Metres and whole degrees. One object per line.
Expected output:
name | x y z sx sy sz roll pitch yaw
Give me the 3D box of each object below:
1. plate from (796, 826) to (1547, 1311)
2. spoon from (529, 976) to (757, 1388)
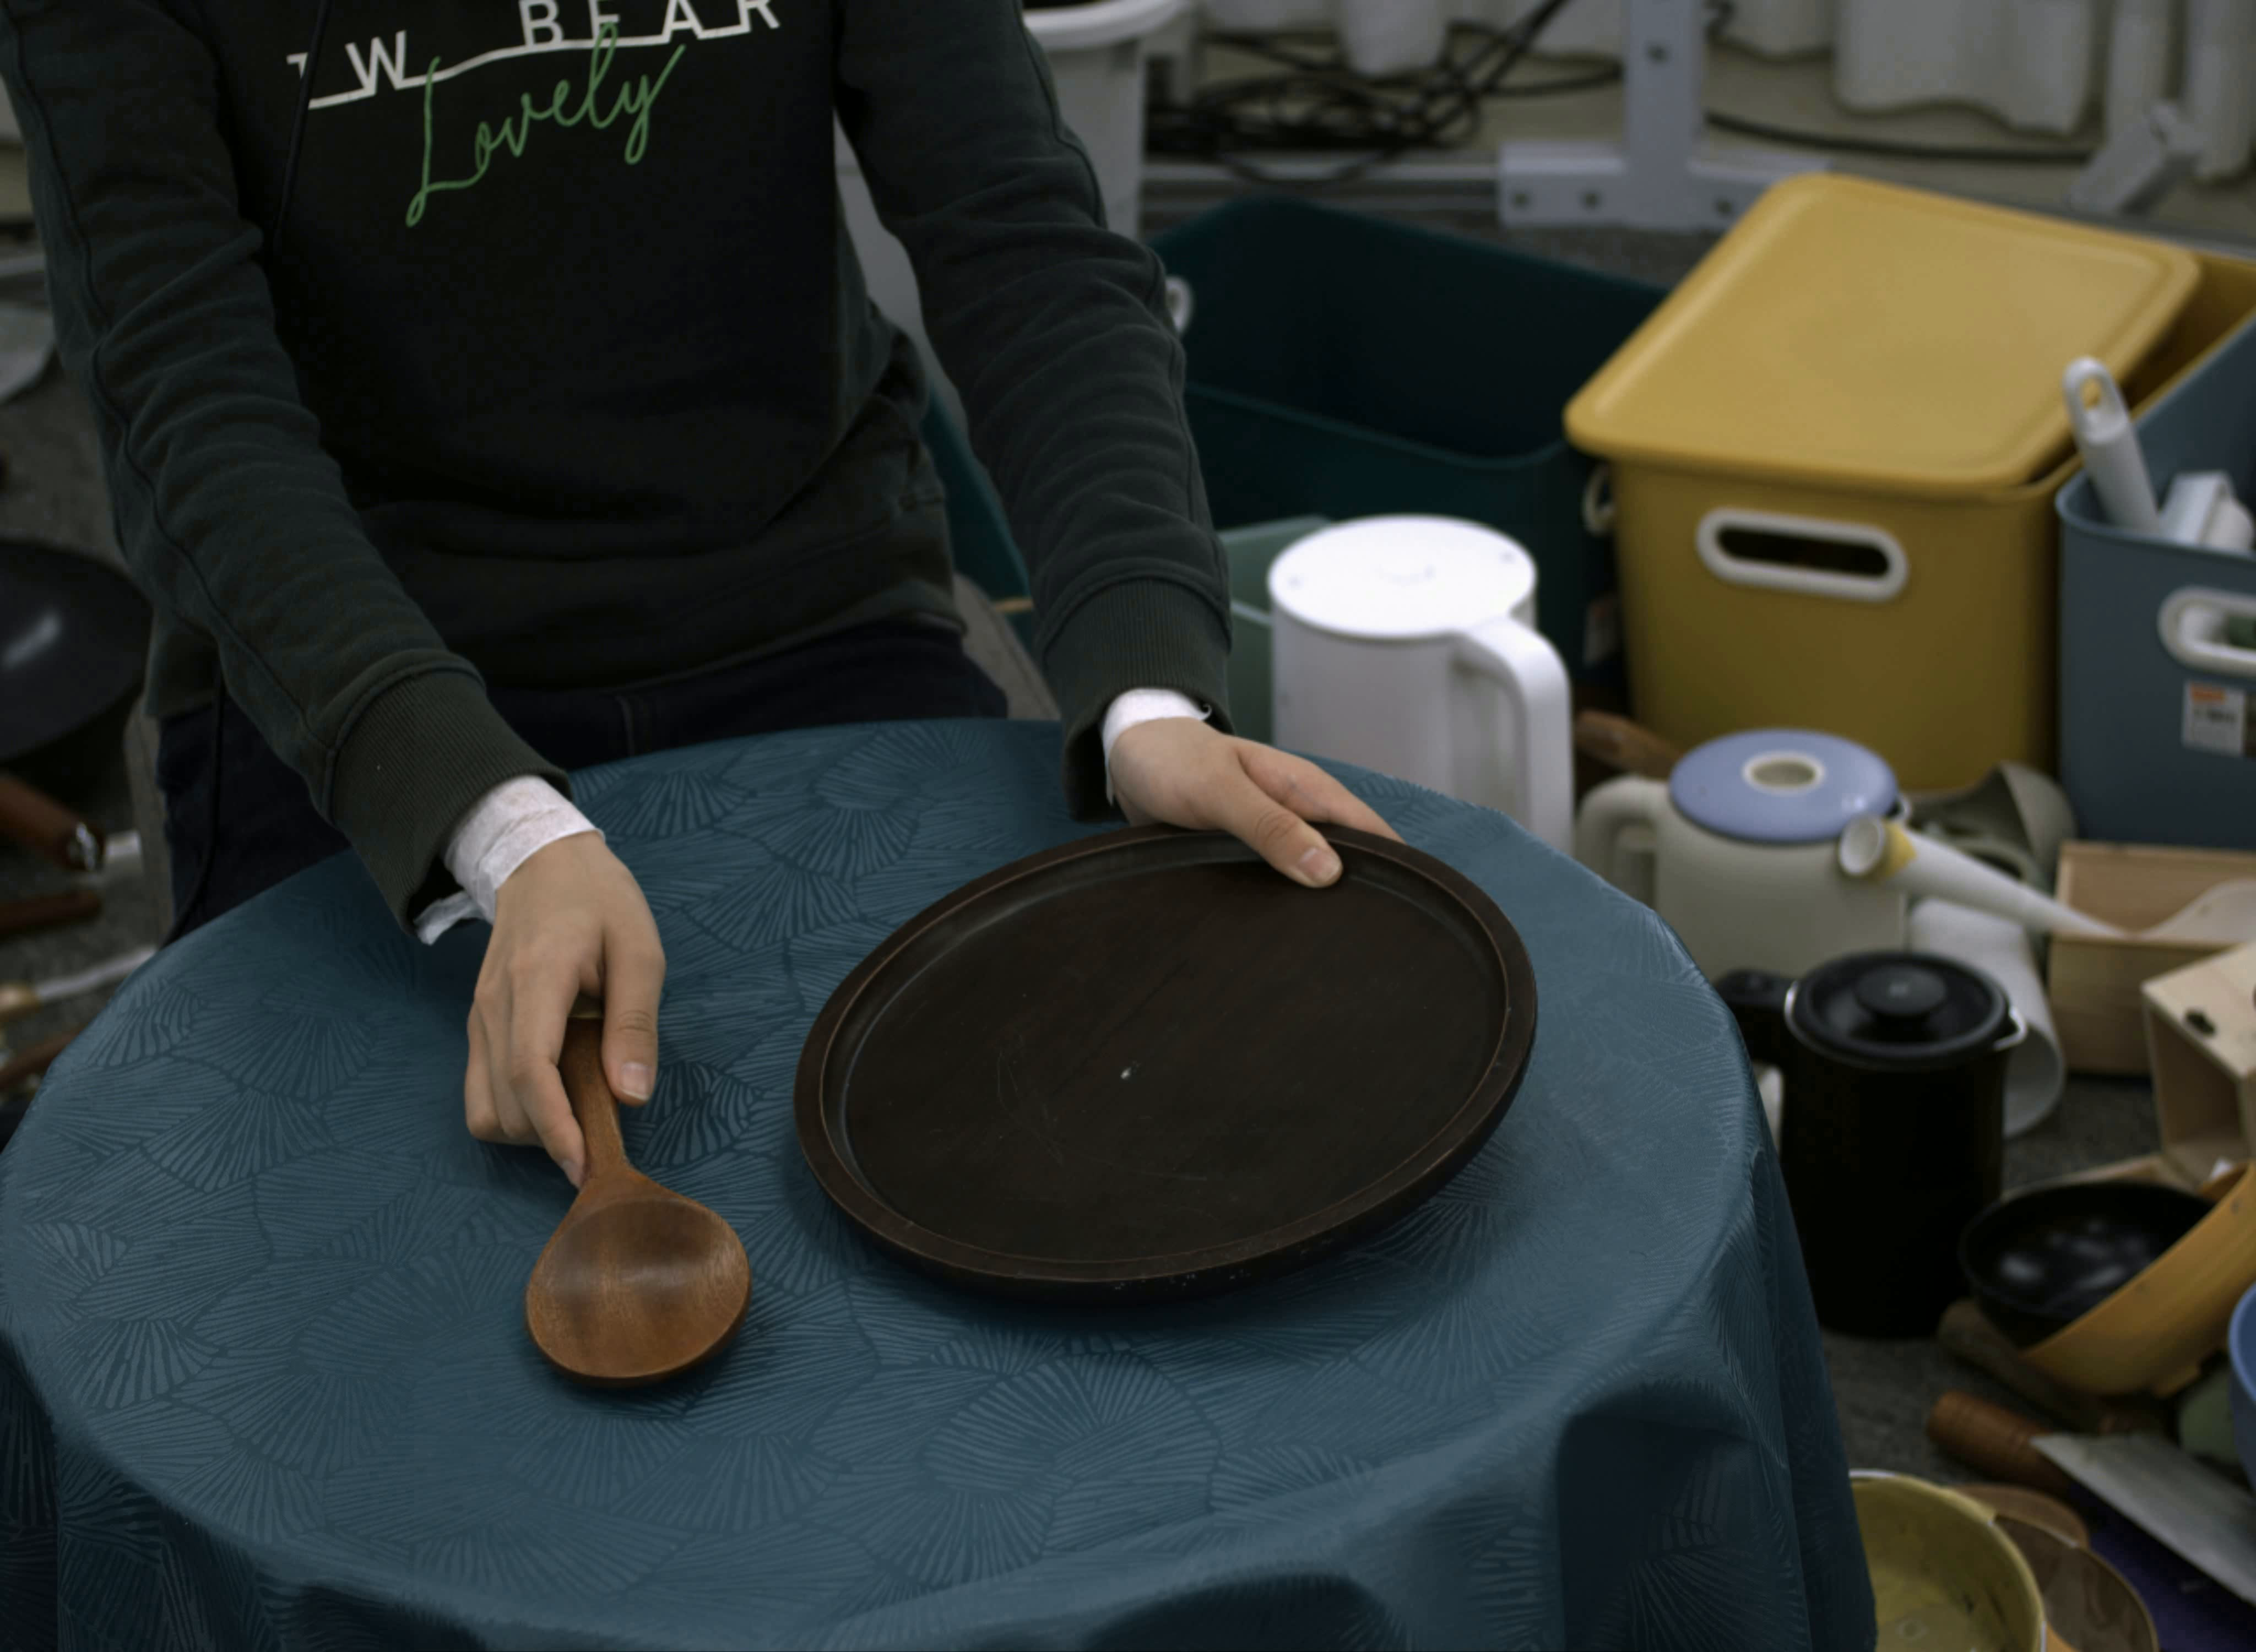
plate | 0.014 0.079 1.877 0.253 0.028 0.259 -7 34 5
spoon | -0.169 0.116 1.845 0.075 0.017 0.219 -16 36 -5
